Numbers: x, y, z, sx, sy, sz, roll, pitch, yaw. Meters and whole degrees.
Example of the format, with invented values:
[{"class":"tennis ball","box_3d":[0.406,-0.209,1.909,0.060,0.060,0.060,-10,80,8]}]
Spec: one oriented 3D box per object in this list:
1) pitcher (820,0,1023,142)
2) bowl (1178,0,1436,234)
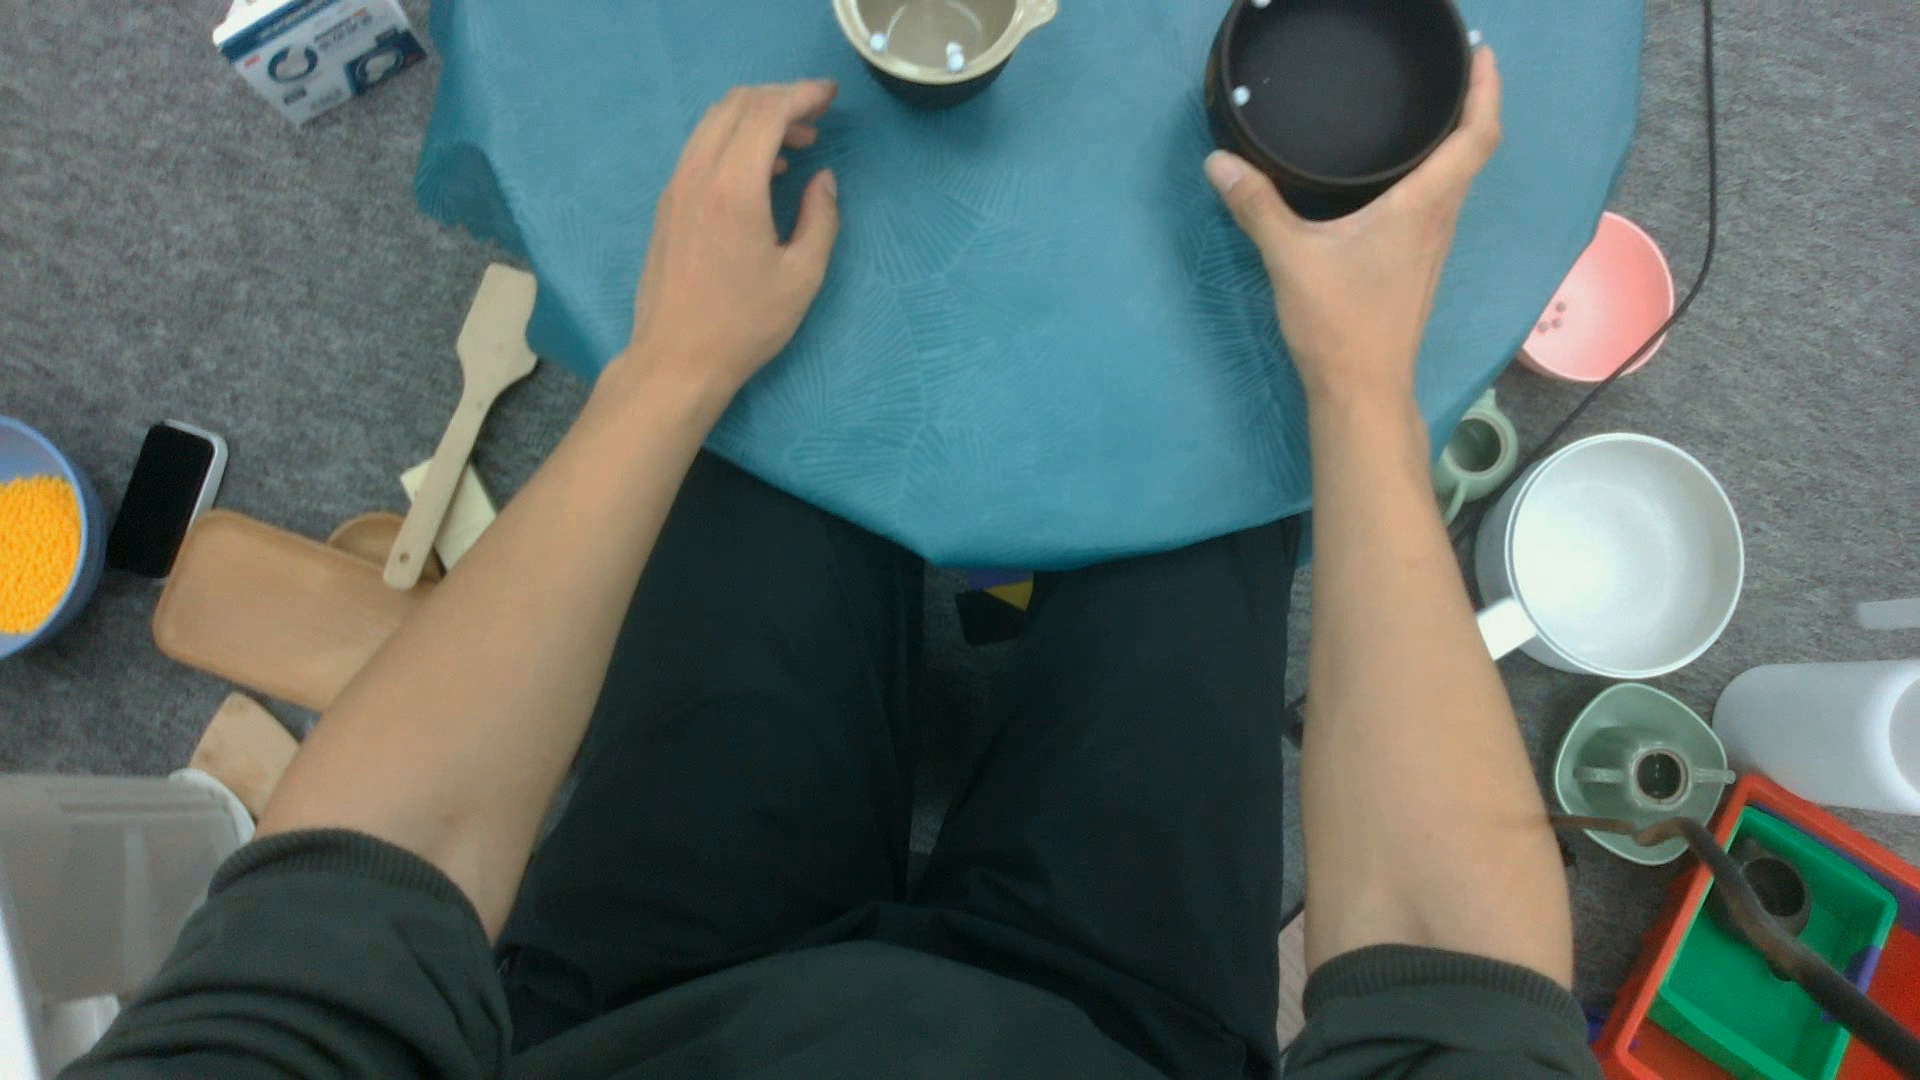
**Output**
[{"class":"pitcher","box_3d":[-0.019,-0.233,0.671,0.096,0.071,0.084,16,80,-1]},{"class":"bowl","box_3d":[0.164,-0.205,0.674,0.118,0.070,0.118,0,84,-2]}]
